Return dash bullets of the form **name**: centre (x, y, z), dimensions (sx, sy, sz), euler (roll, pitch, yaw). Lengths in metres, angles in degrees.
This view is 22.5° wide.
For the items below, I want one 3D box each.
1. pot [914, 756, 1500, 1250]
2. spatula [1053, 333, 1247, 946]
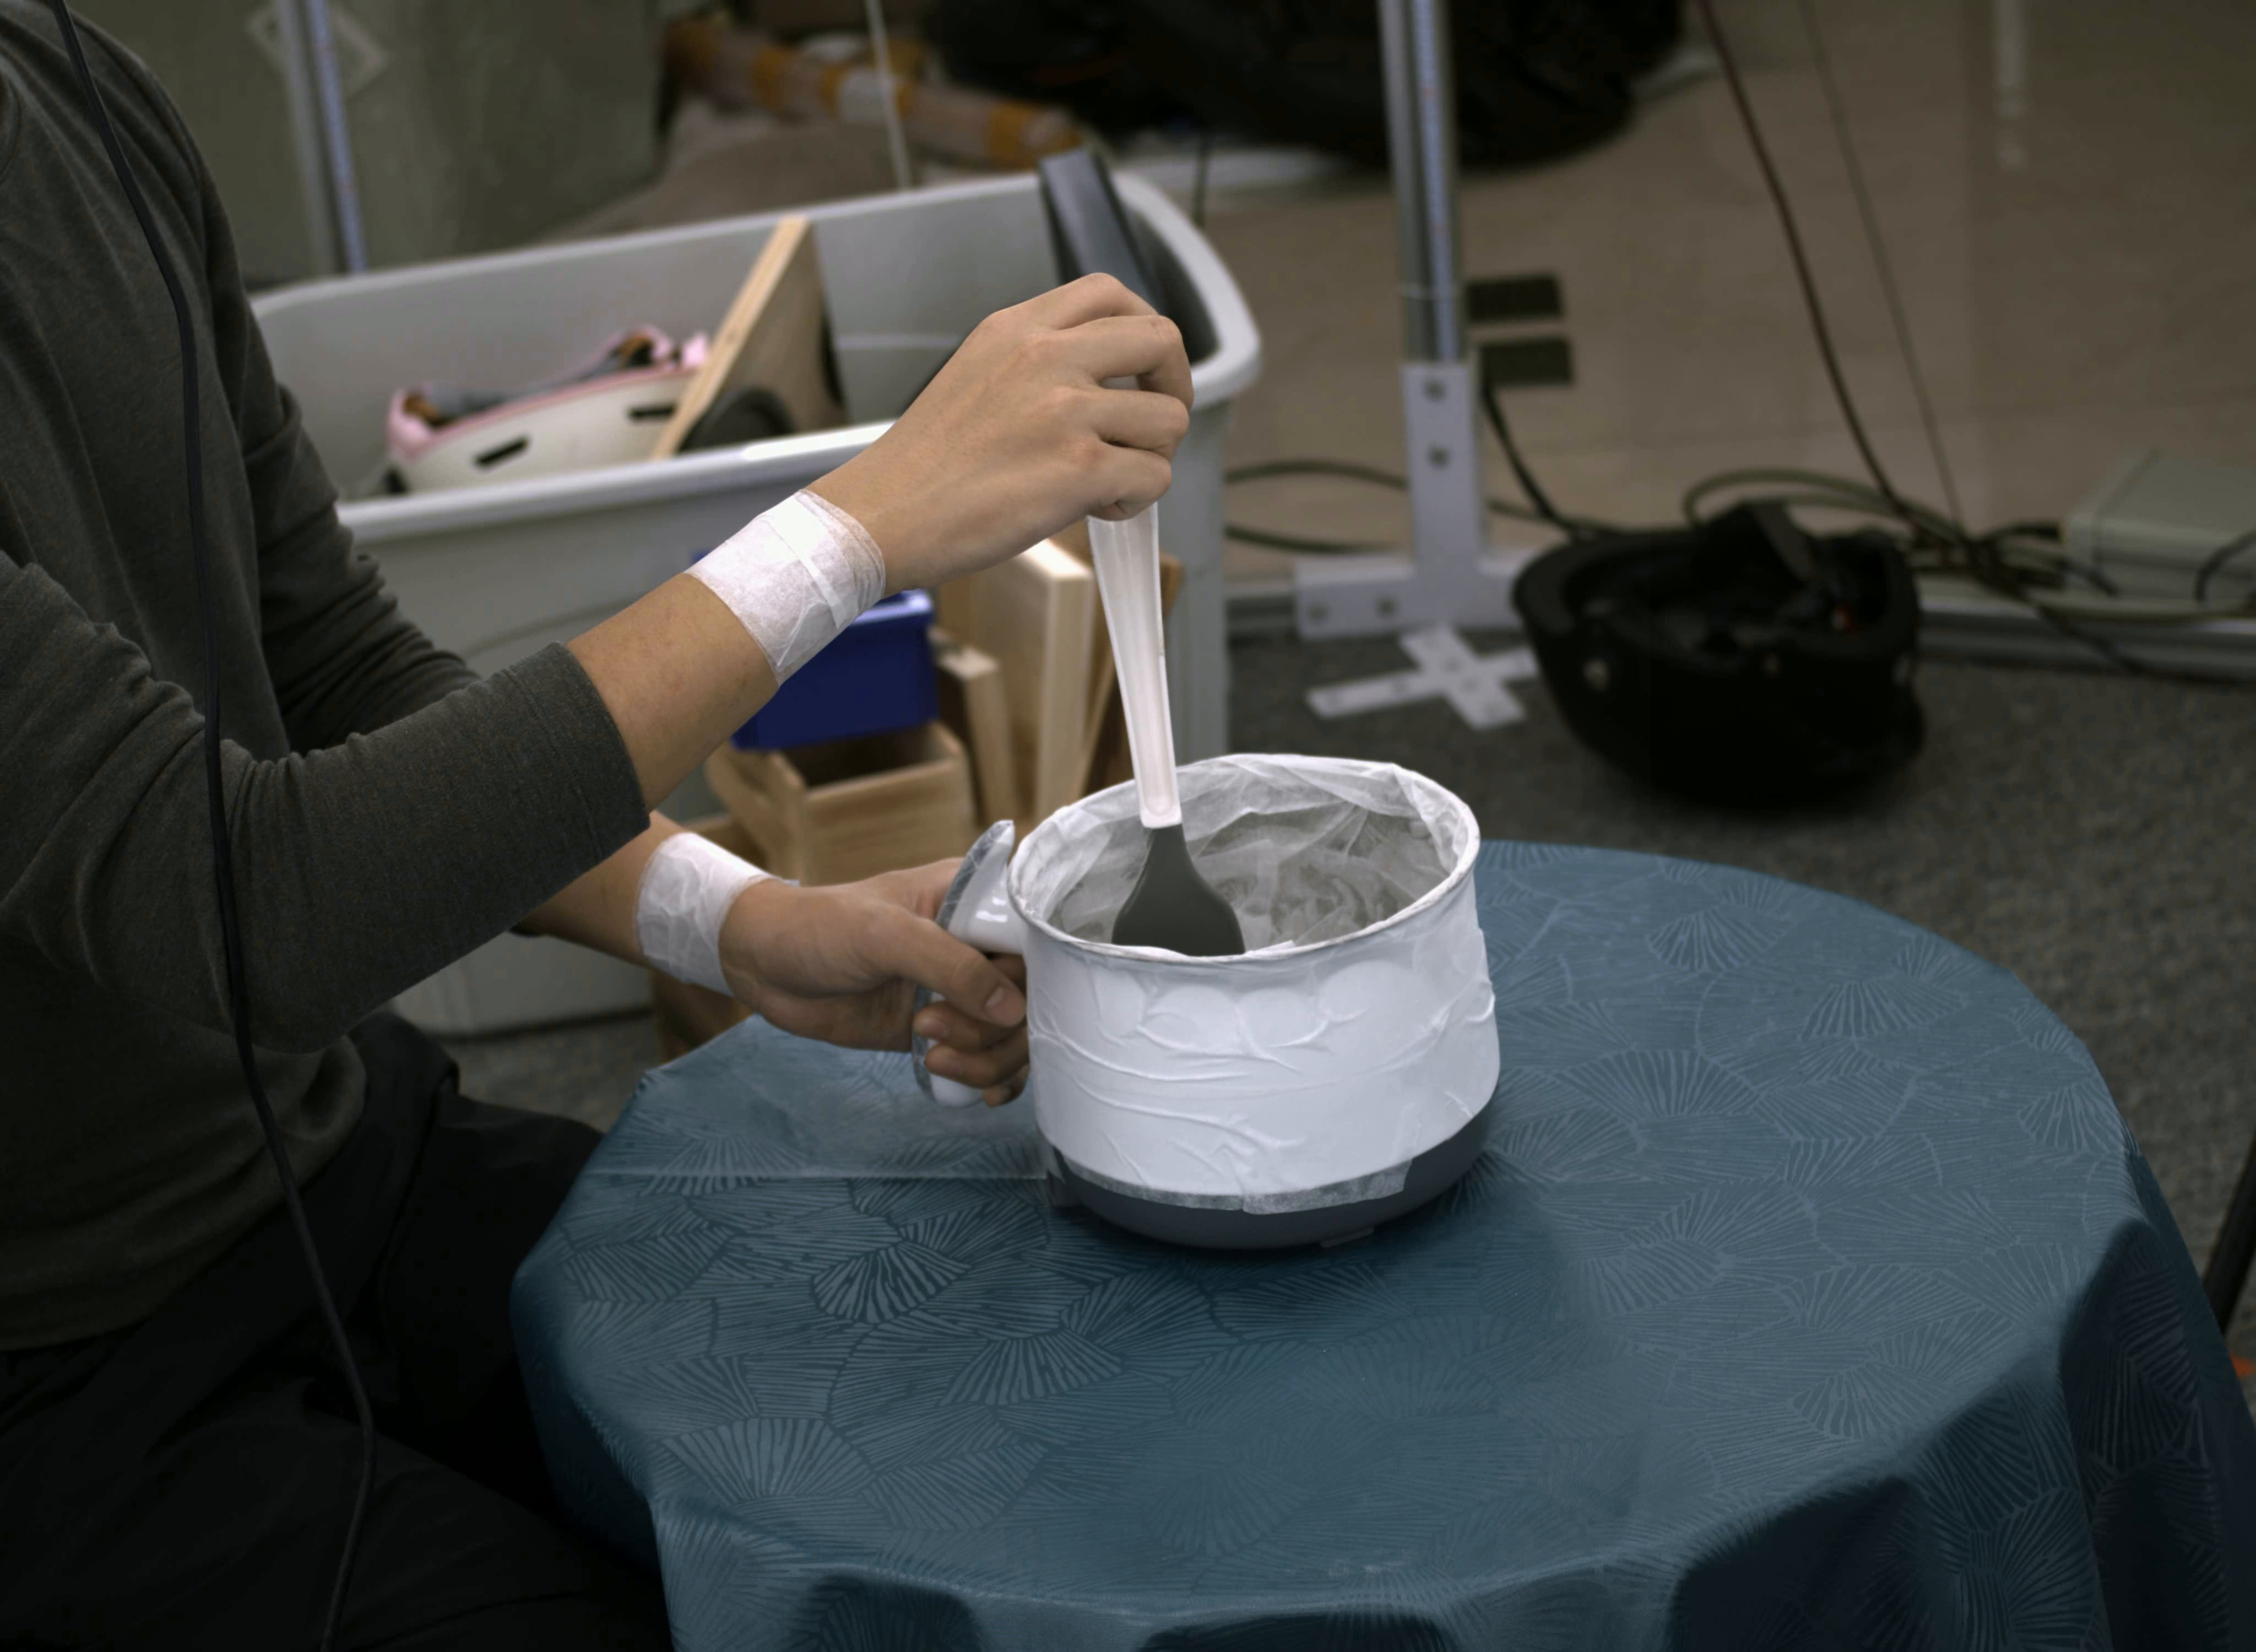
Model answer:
- **pot**: centre (0.024, 0.066, 2.139), dimensions (0.233, 0.139, 0.176), euler (4, 27, 22)
- **spatula**: centre (0.008, -0.038, 2.075), dimensions (0.058, 0.291, 0.032), euler (-9, 19, -3)
